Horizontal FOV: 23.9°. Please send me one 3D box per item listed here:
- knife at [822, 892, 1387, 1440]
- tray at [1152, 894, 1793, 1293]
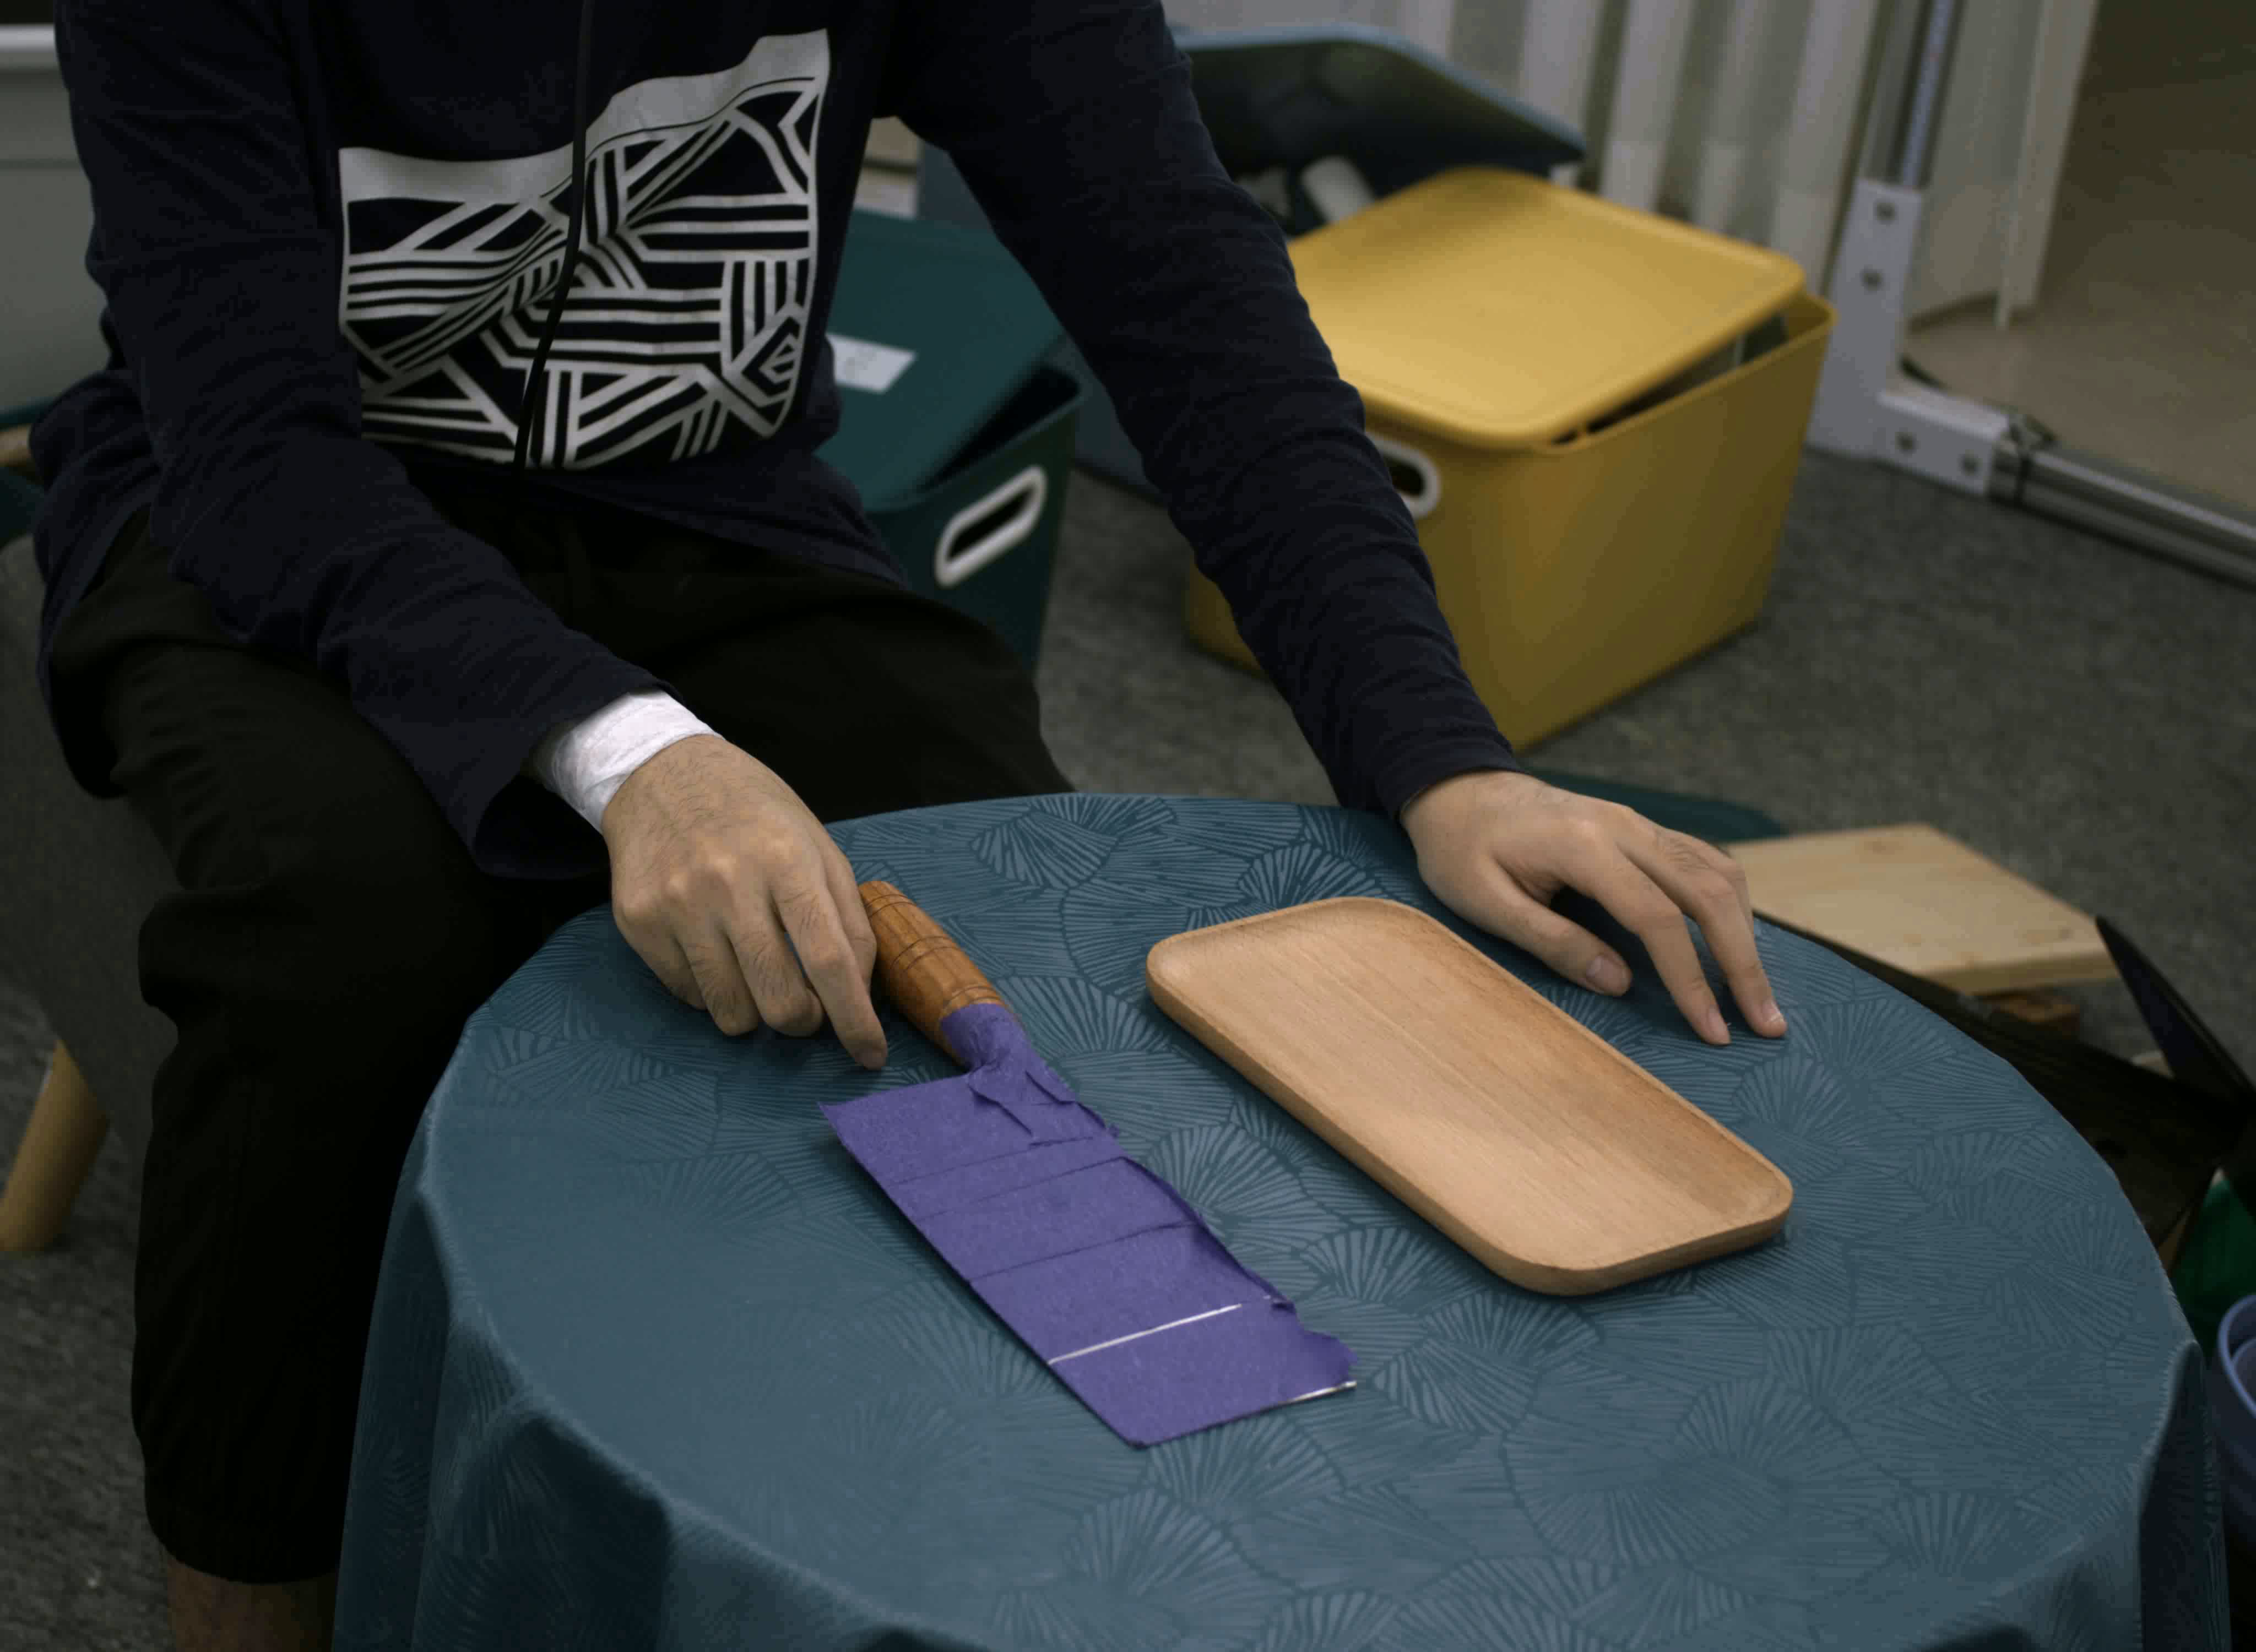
[{"bbox_3d":[-0.040,0.110,1.795,0.103,0.032,0.318,-11,32,-31],"label":"knife"},{"bbox_3d":[0.118,0.092,1.878,0.129,0.023,0.253,-9,29,-32],"label":"tray"}]
